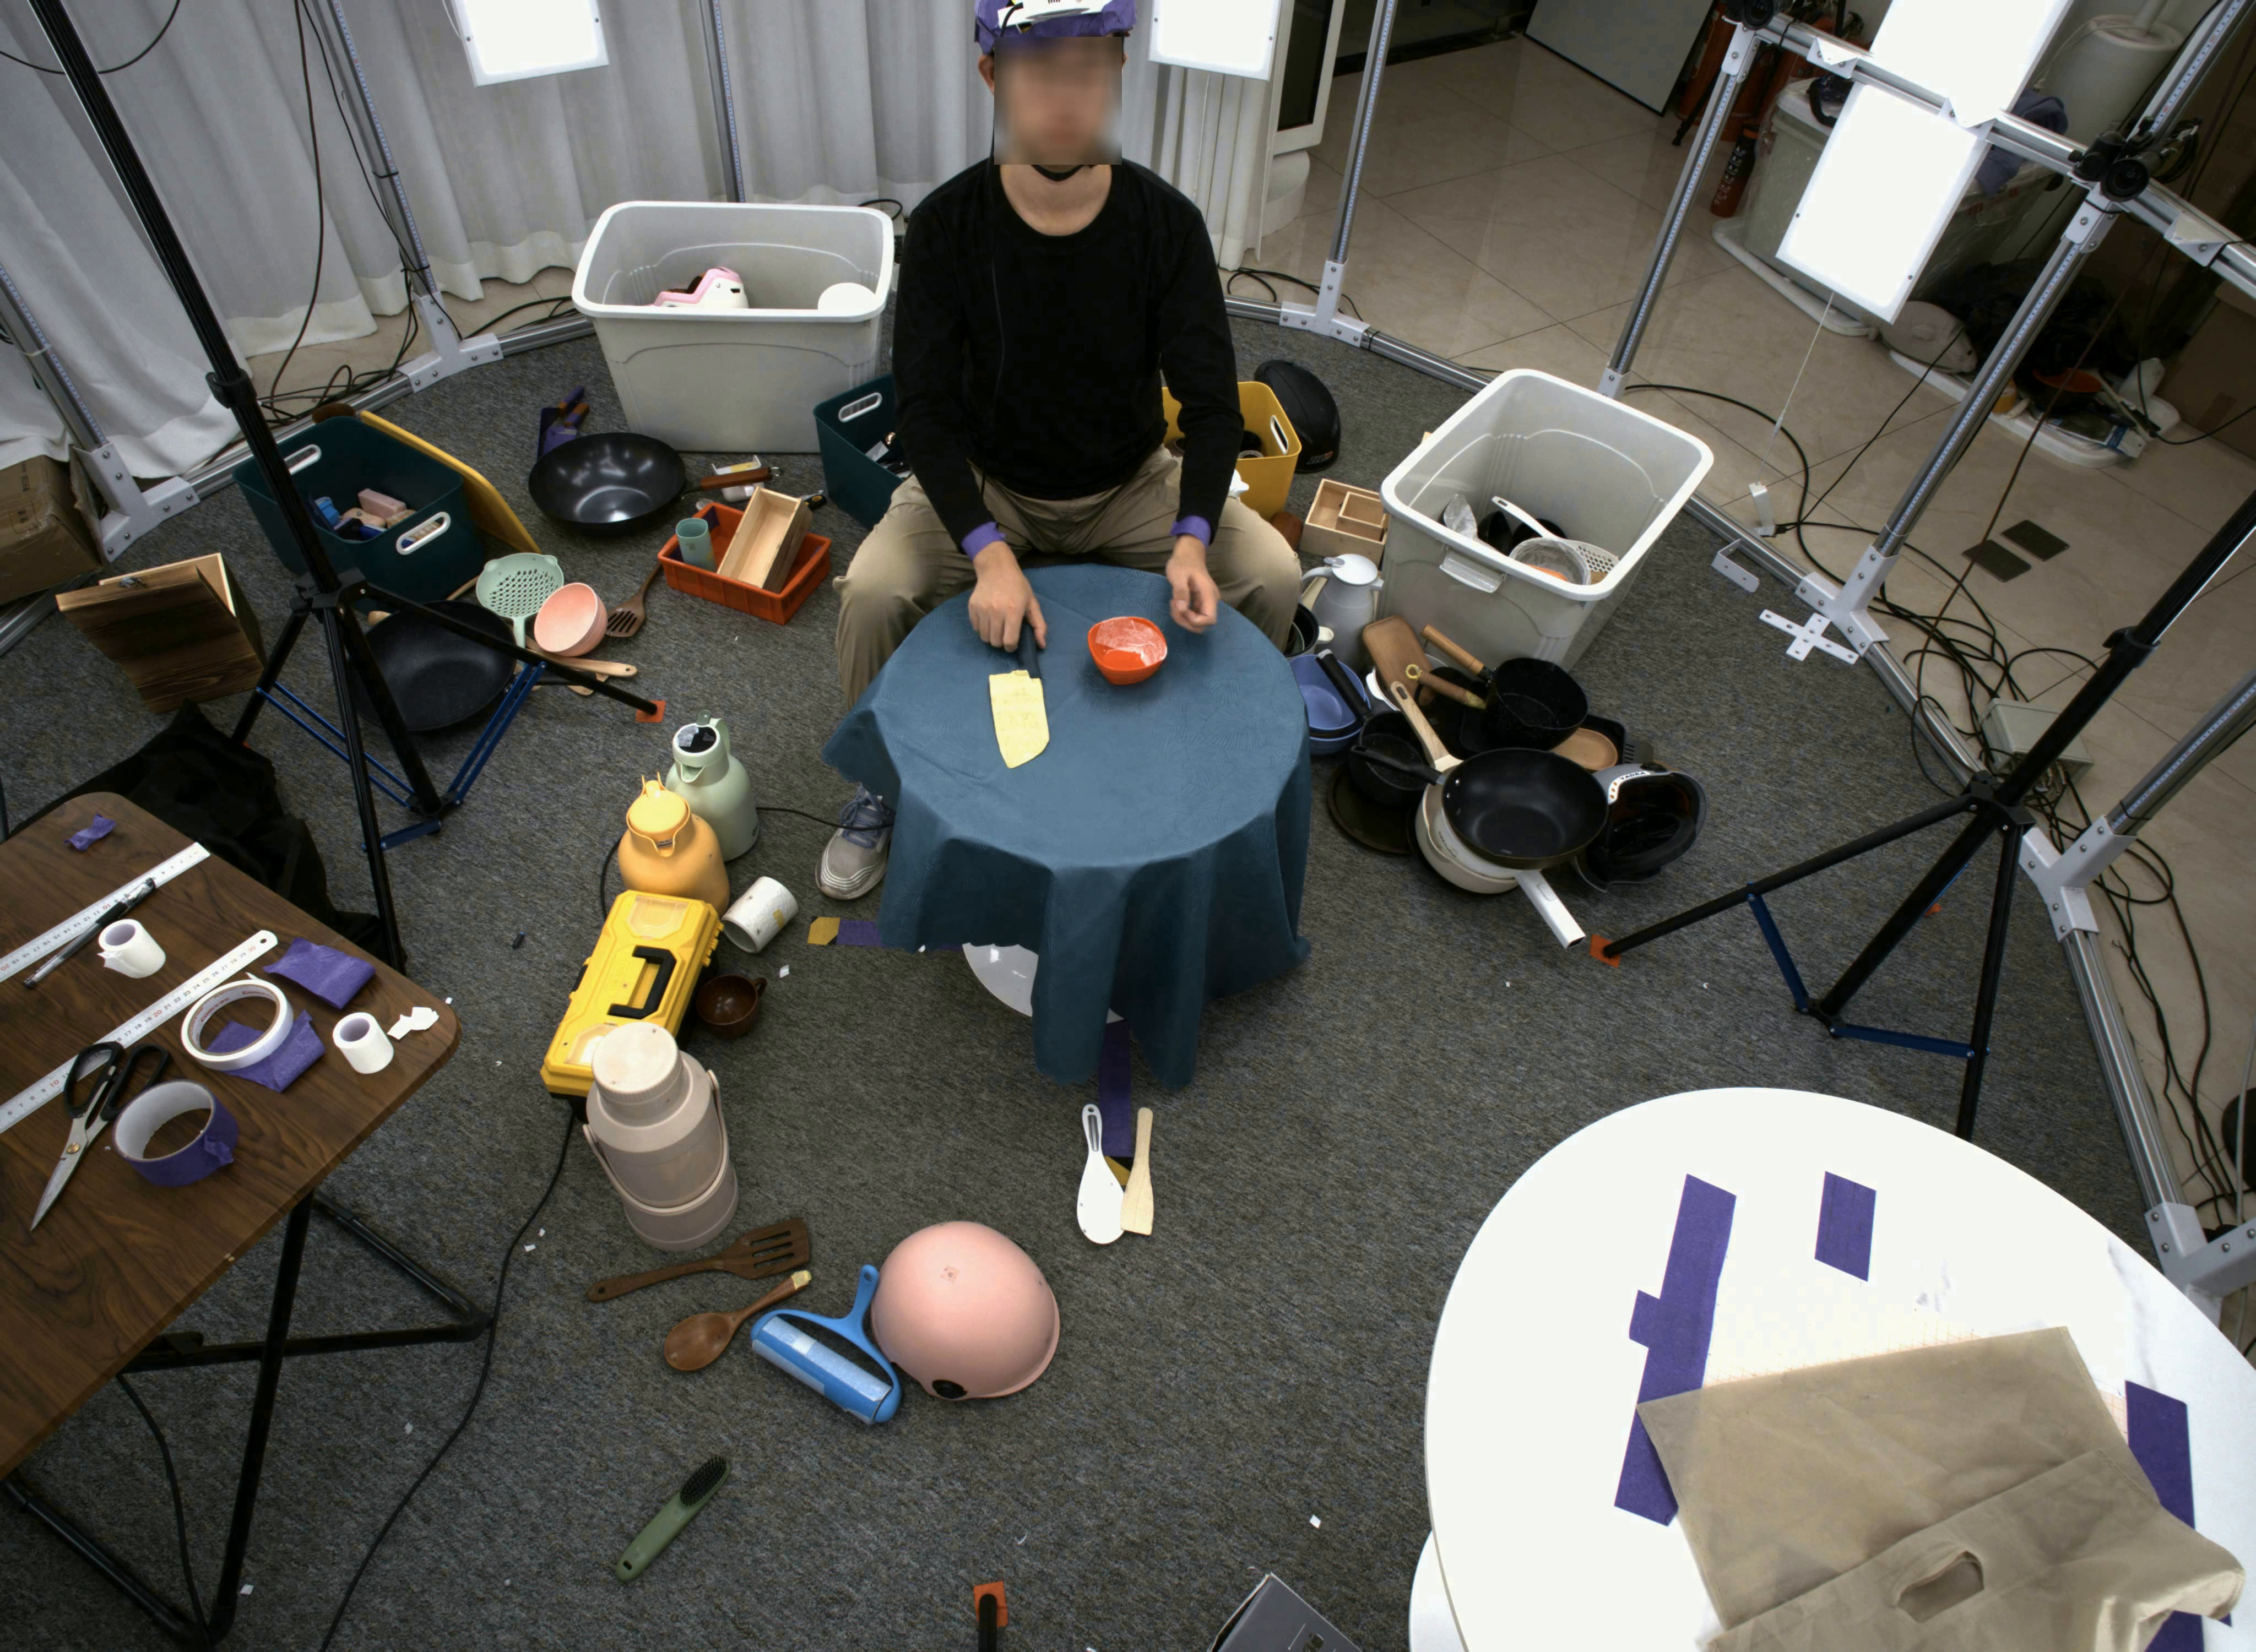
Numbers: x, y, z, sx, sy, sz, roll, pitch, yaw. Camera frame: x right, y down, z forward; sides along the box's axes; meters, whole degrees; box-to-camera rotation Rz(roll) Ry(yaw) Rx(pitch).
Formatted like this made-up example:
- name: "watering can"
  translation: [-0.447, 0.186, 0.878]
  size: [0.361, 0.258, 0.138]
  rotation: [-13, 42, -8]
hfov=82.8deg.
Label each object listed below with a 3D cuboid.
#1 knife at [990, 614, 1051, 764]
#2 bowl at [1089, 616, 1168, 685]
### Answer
- name: "knife"
  translation: [-0.155, -0.197, 1.821]
  size: [0.081, 0.026, 0.297]
  rotation: [-2, 50, -6]
- name: "bowl"
  translation: [-0.001, -0.247, 1.849]
  size: [0.119, 0.050, 0.122]
  rotation: [1, 51, -1]
